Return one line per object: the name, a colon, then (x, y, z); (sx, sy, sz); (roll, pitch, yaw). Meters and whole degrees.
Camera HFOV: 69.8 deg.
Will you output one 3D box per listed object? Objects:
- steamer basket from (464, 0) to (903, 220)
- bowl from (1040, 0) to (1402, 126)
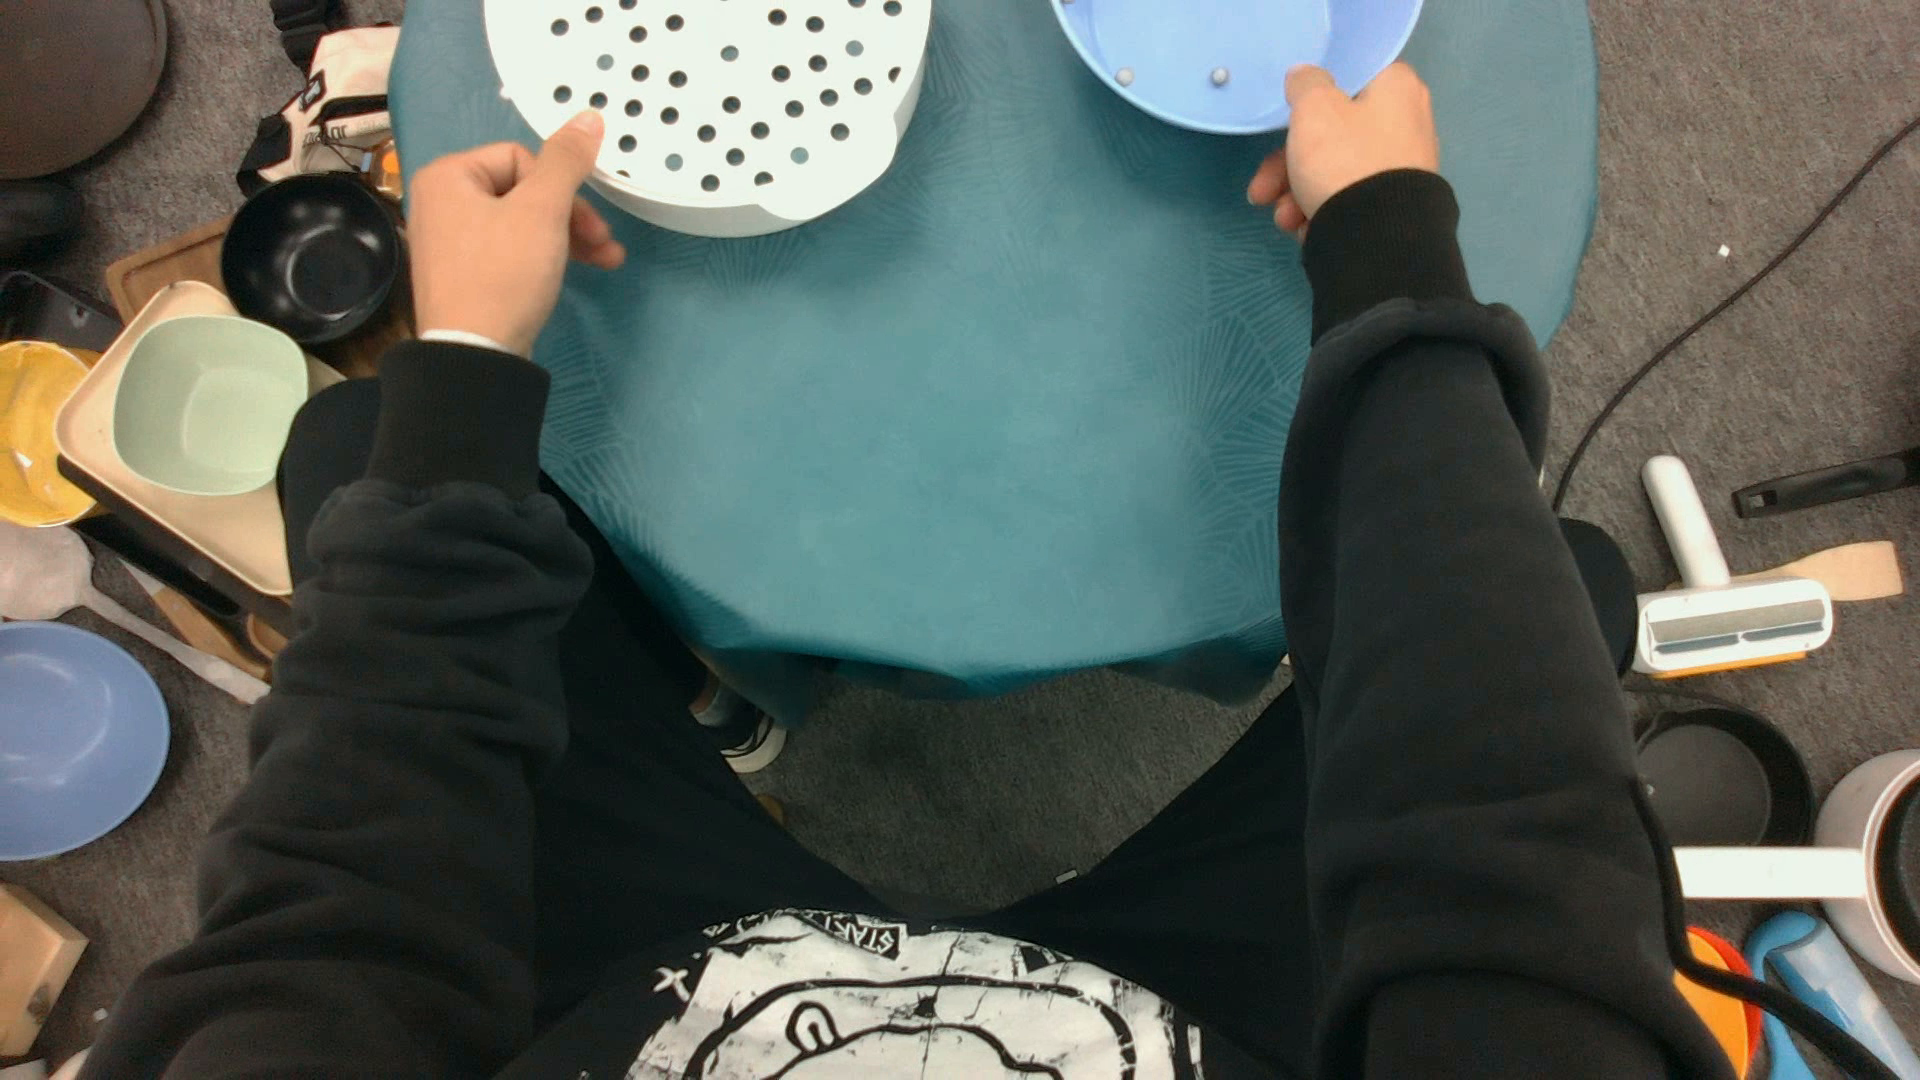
steamer basket: (-0.125, -0.252, 0.653); (0.202, 0.069, 0.230); (-34, 82, -6)
bowl: (0.119, -0.270, 0.662); (0.176, 0.070, 0.176); (0, 82, 0)
